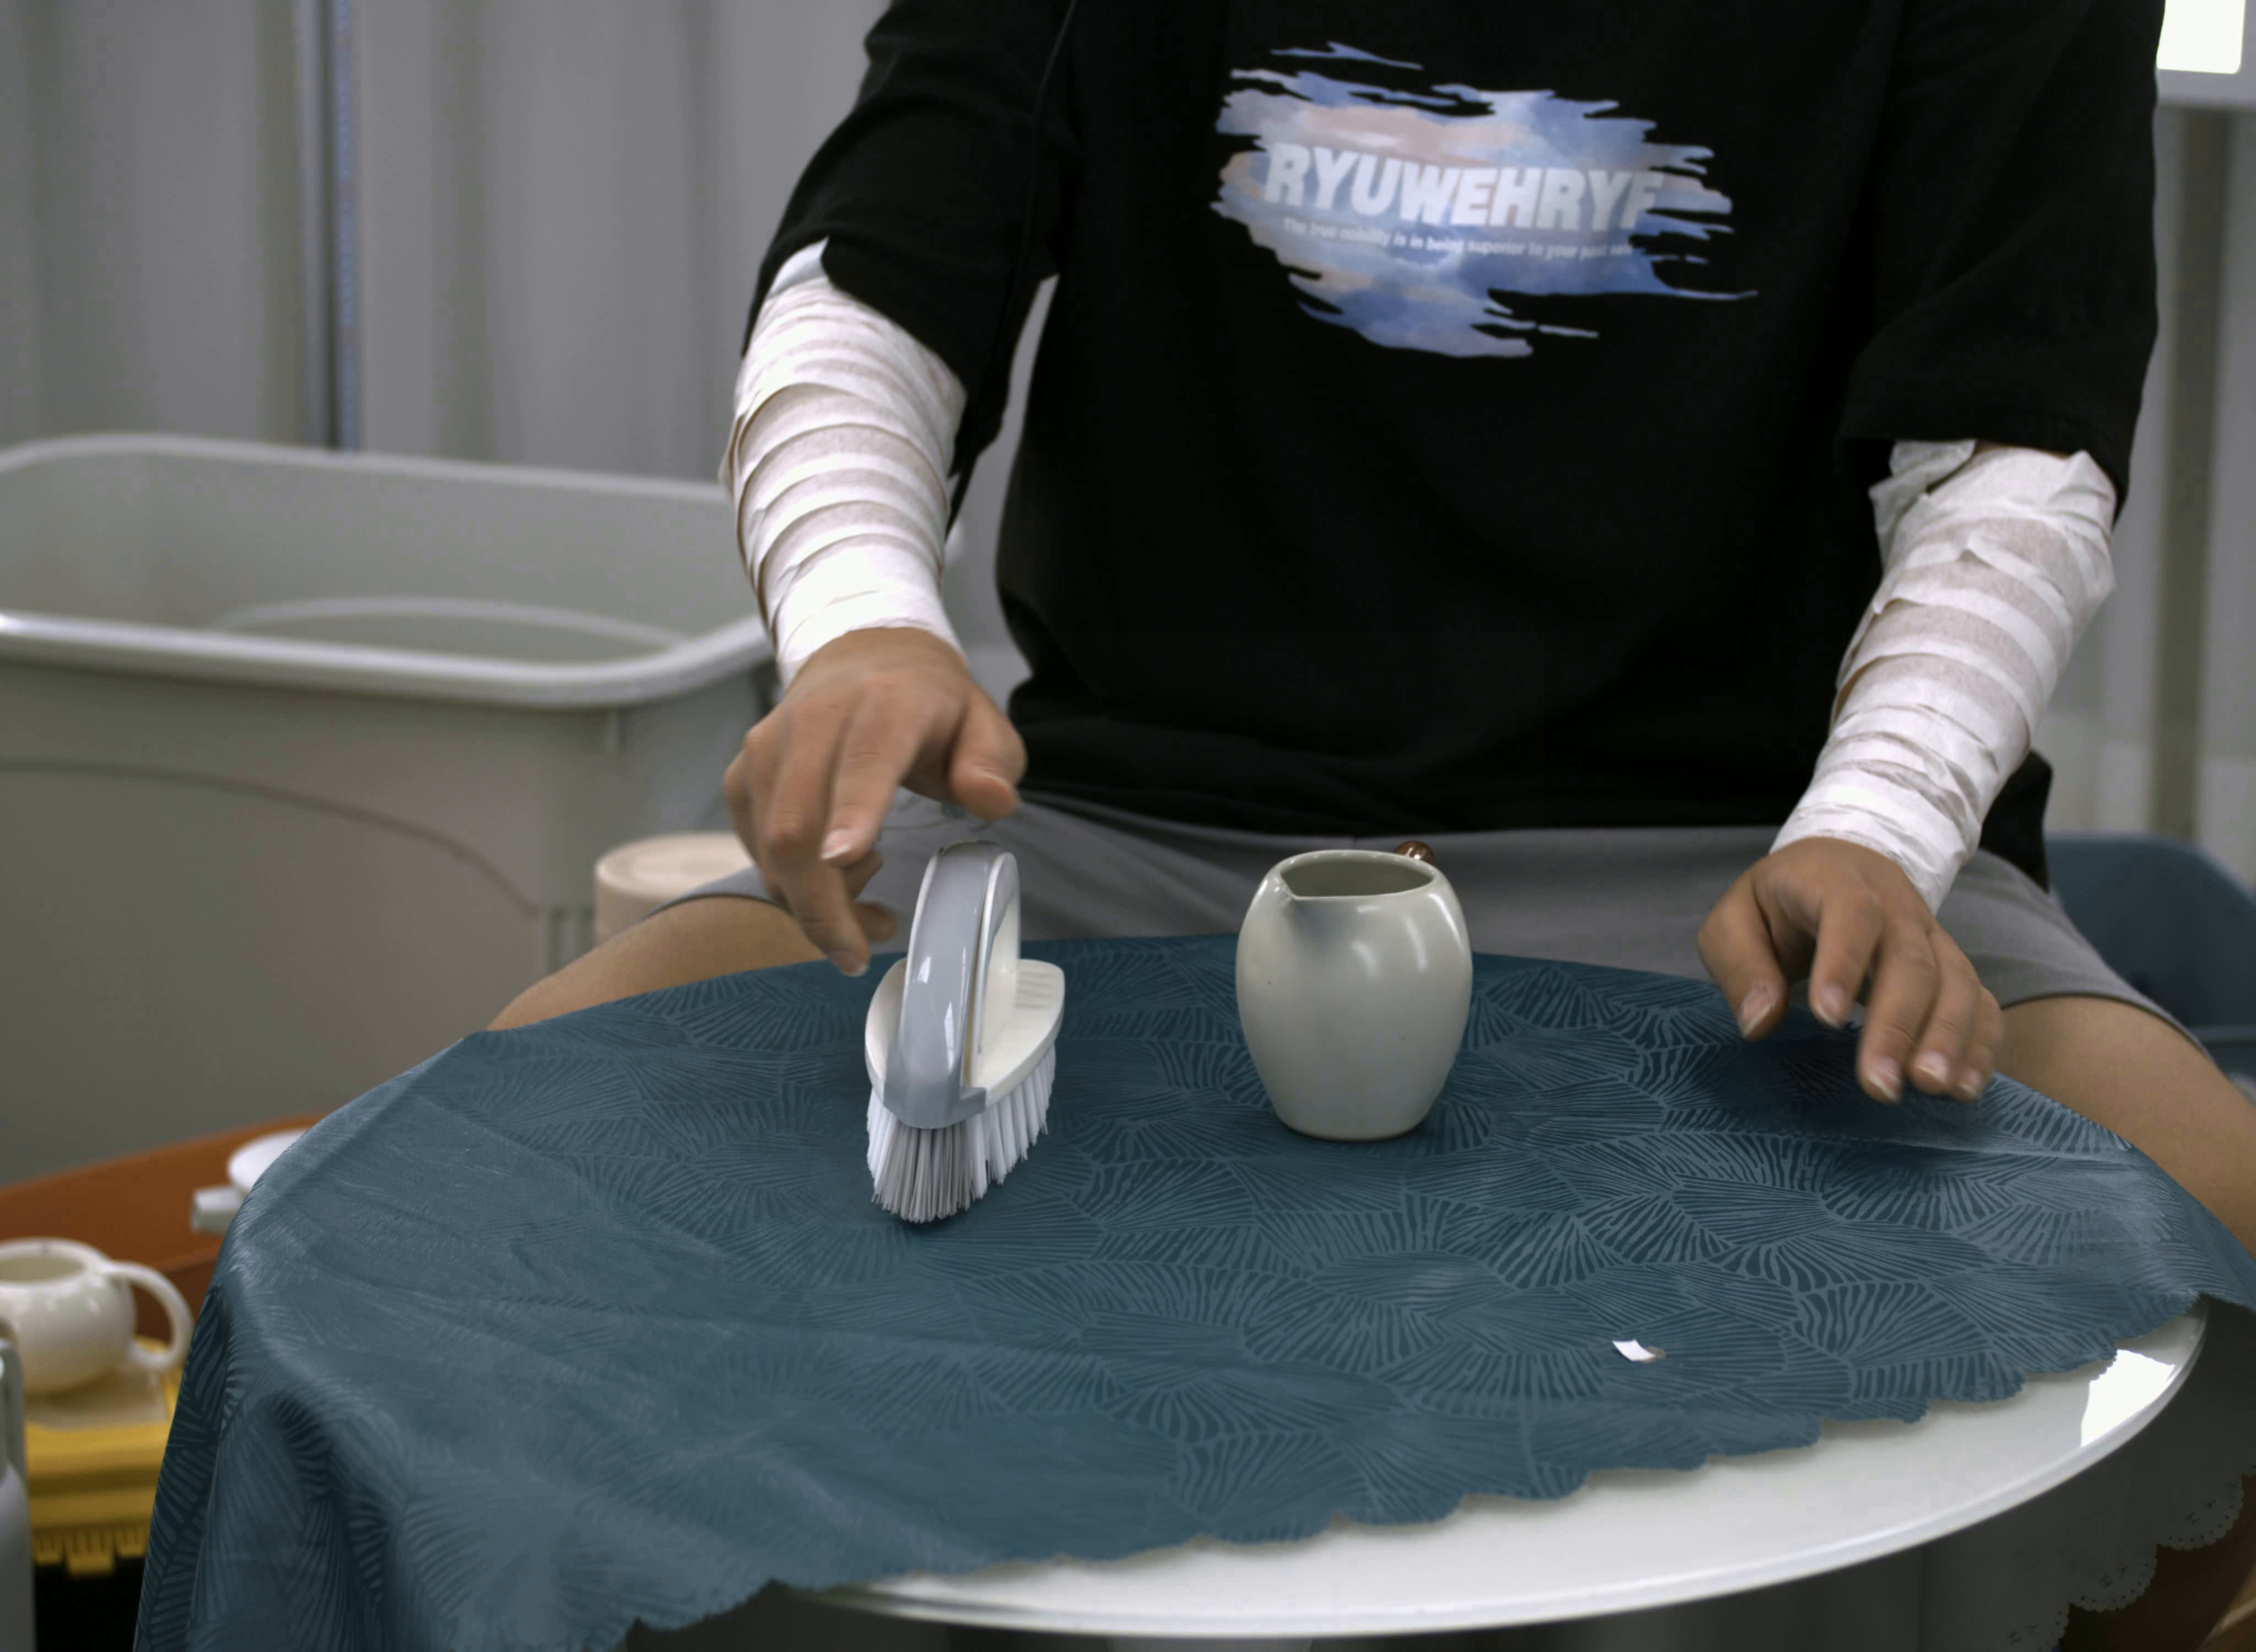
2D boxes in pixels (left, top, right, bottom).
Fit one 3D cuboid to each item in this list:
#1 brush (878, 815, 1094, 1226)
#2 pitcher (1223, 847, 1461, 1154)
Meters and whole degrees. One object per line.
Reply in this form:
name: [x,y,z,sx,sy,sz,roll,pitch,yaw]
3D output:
brush: [-0.050,0.054,1.653,0.061,0.095,0.175,2,20,9]
pitcher: [0.071,0.054,1.678,0.075,0.088,0.119,12,20,24]
